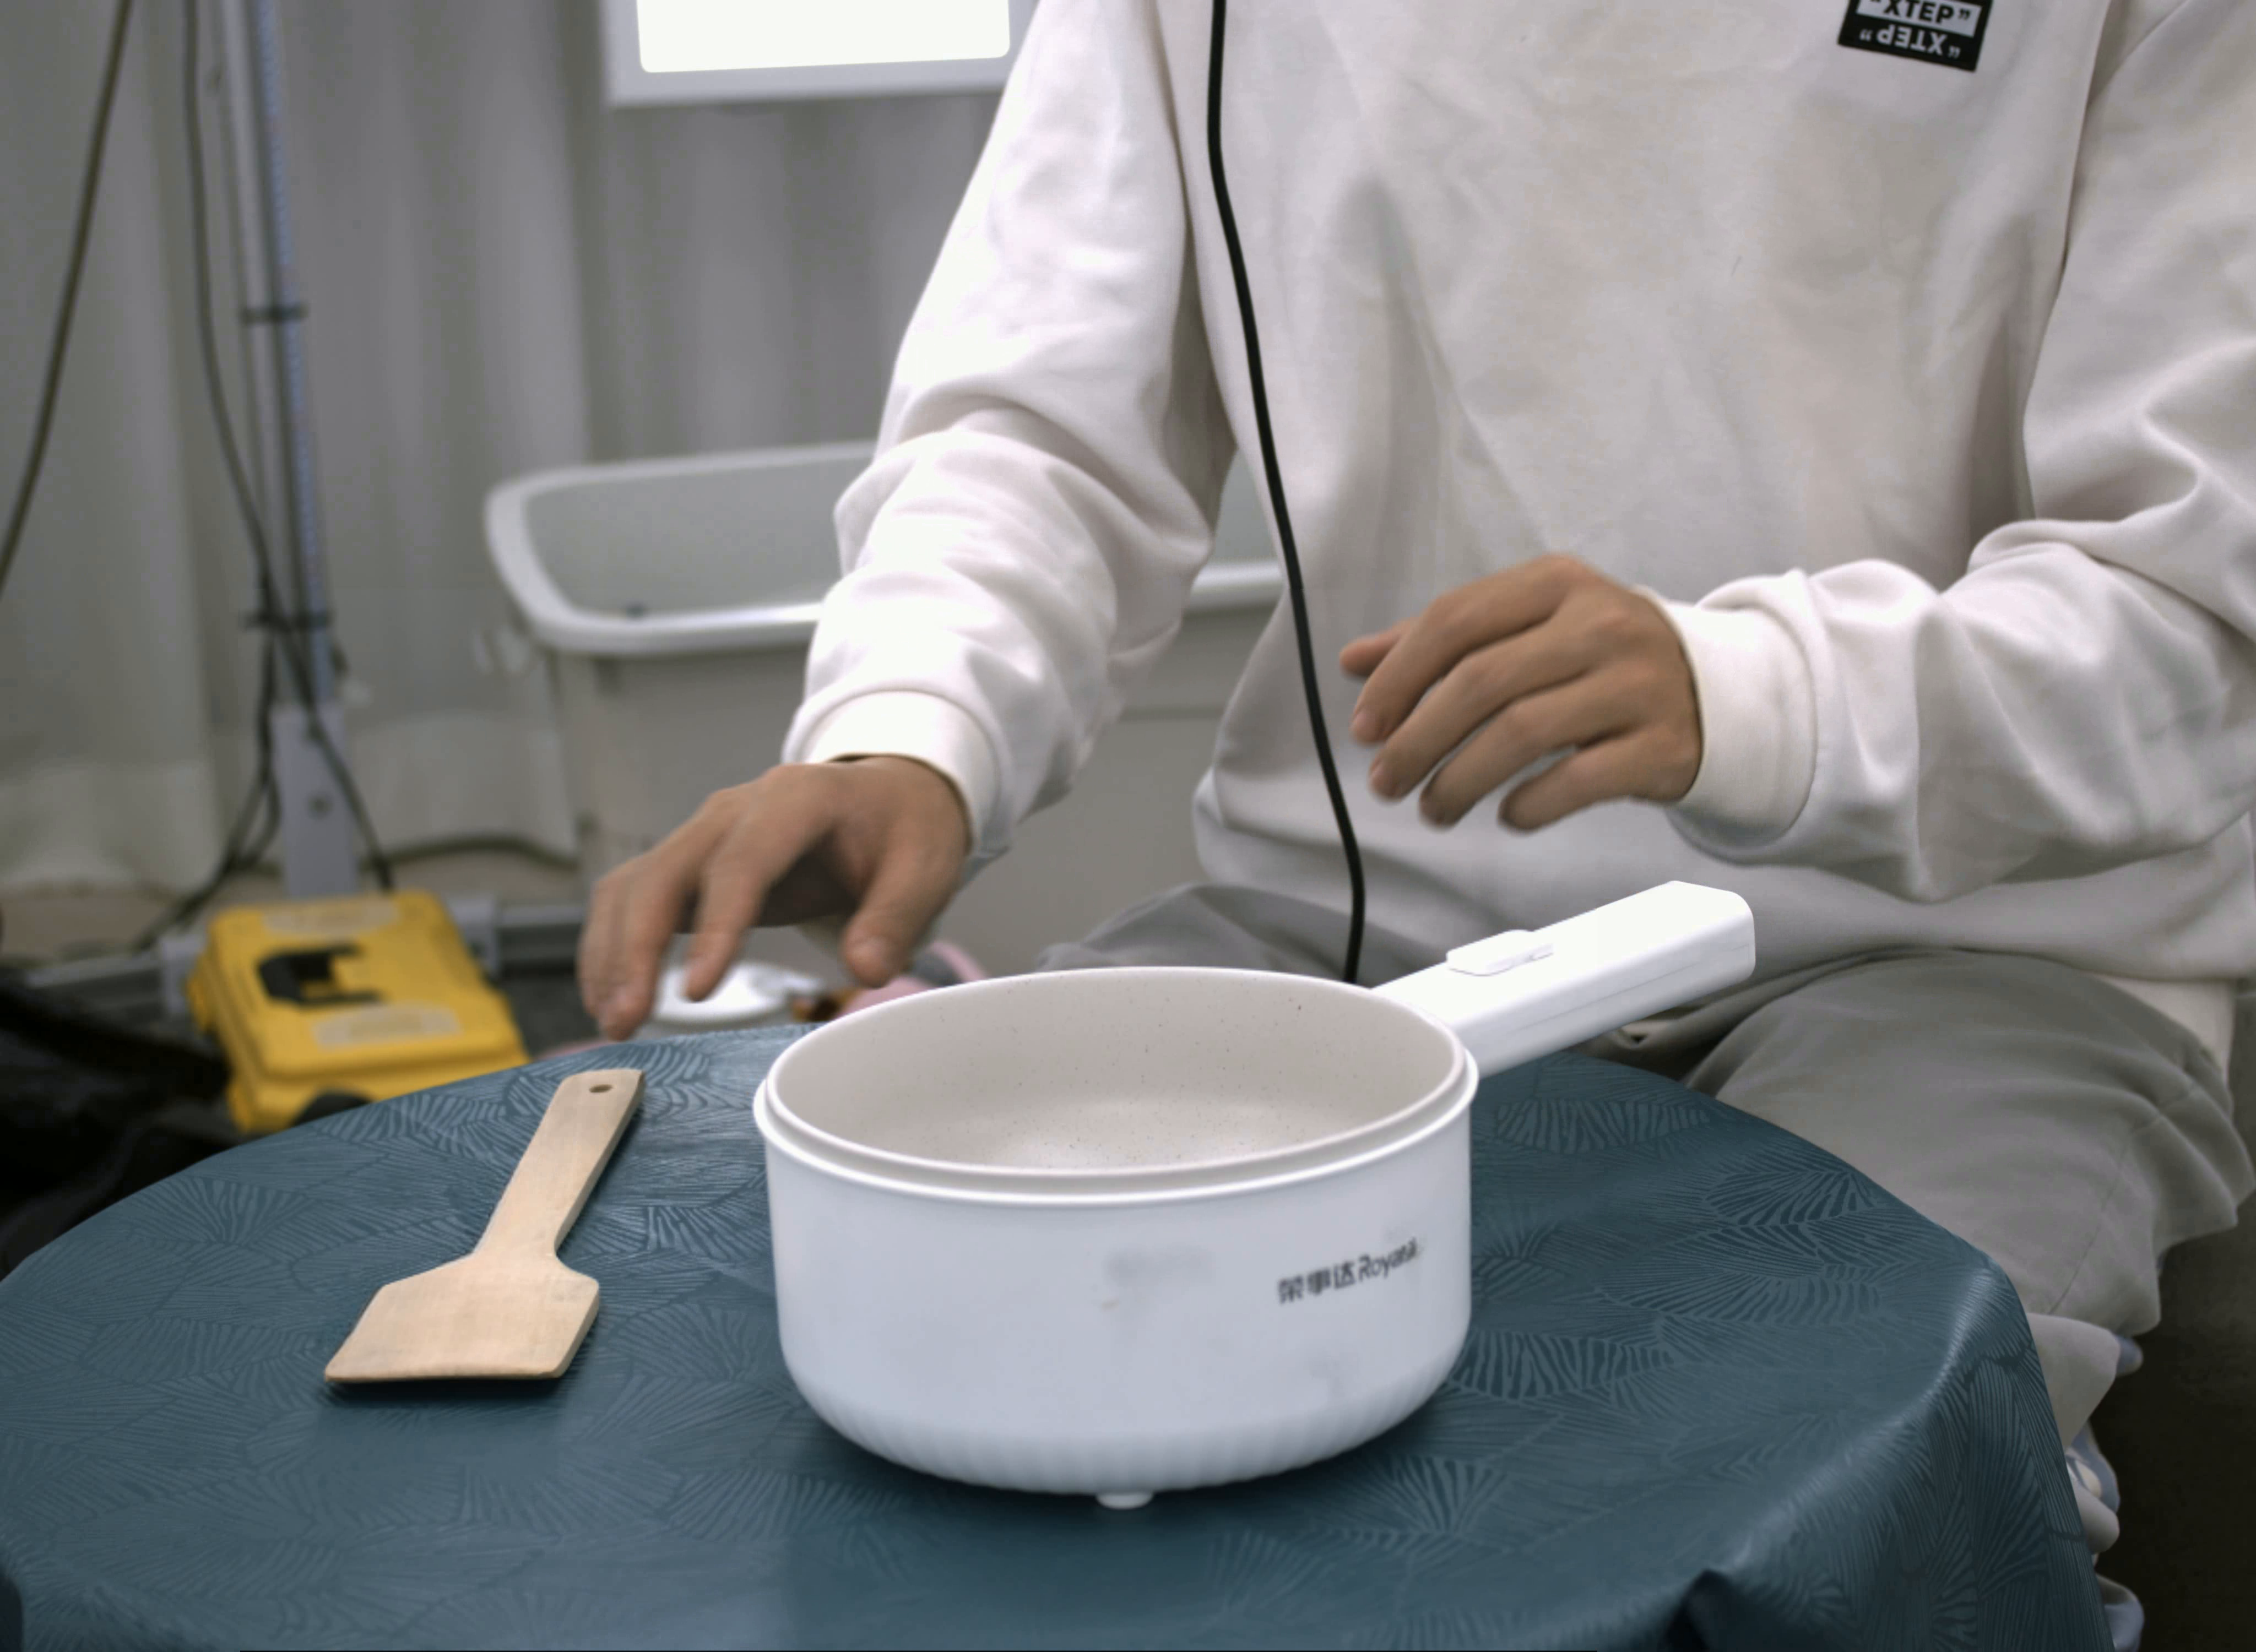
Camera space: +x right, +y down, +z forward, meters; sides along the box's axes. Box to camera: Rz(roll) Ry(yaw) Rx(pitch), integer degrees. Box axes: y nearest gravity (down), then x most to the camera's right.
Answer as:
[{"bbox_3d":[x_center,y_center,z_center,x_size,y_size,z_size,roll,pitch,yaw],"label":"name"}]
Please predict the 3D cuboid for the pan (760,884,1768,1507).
[{"bbox_3d":[0.055,0.099,1.575,0.354,0.102,0.202,-15,19,-42],"label":"pan"}]

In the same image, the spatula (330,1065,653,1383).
[{"bbox_3d":[-0.185,0.122,1.706,0.072,0.010,0.295,-3,15,5],"label":"spatula"}]
